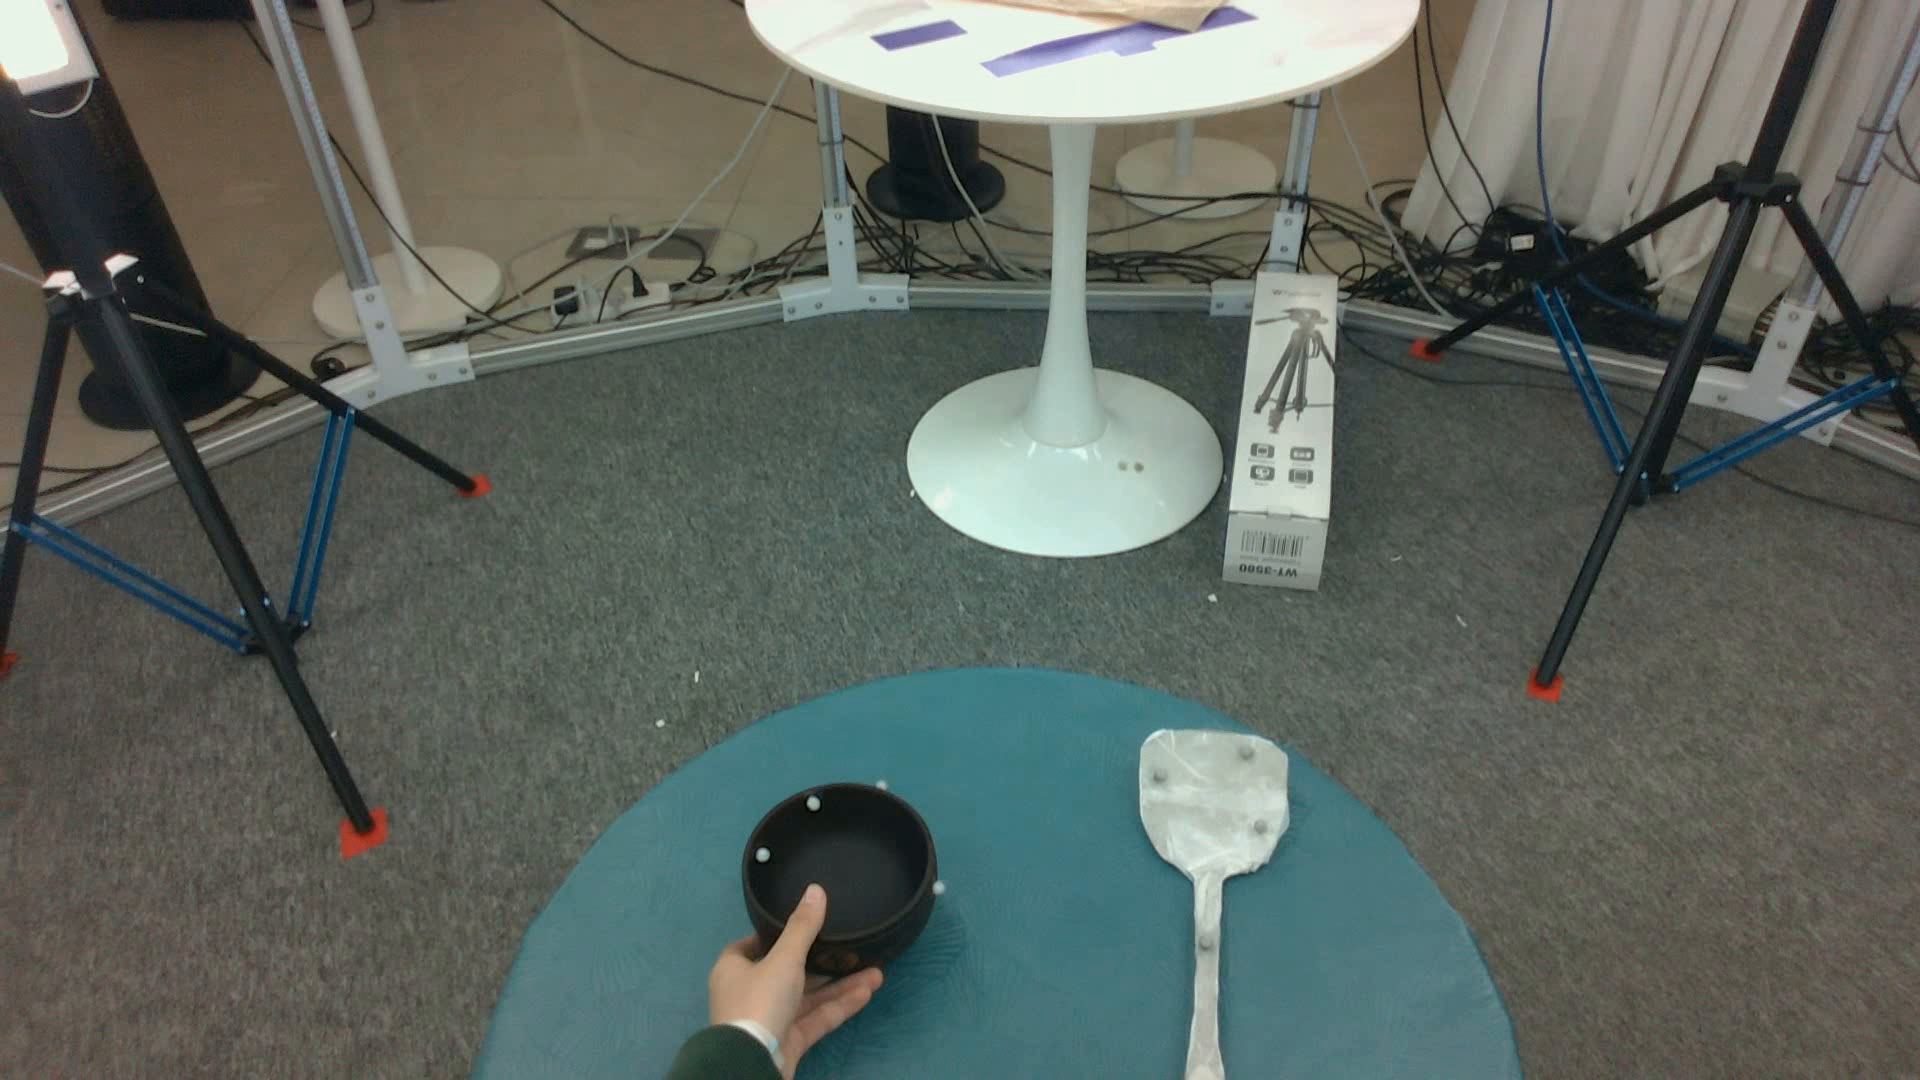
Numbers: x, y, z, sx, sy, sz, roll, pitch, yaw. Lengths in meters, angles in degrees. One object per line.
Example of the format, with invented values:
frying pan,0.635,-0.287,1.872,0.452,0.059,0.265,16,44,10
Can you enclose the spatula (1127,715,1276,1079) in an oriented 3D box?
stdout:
spatula,0.134,0.248,0.806,0.098,0.044,0.367,7,38,7

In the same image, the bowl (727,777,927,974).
bowl,-0.078,0.210,0.836,0.118,0.069,0.118,-2,42,2
